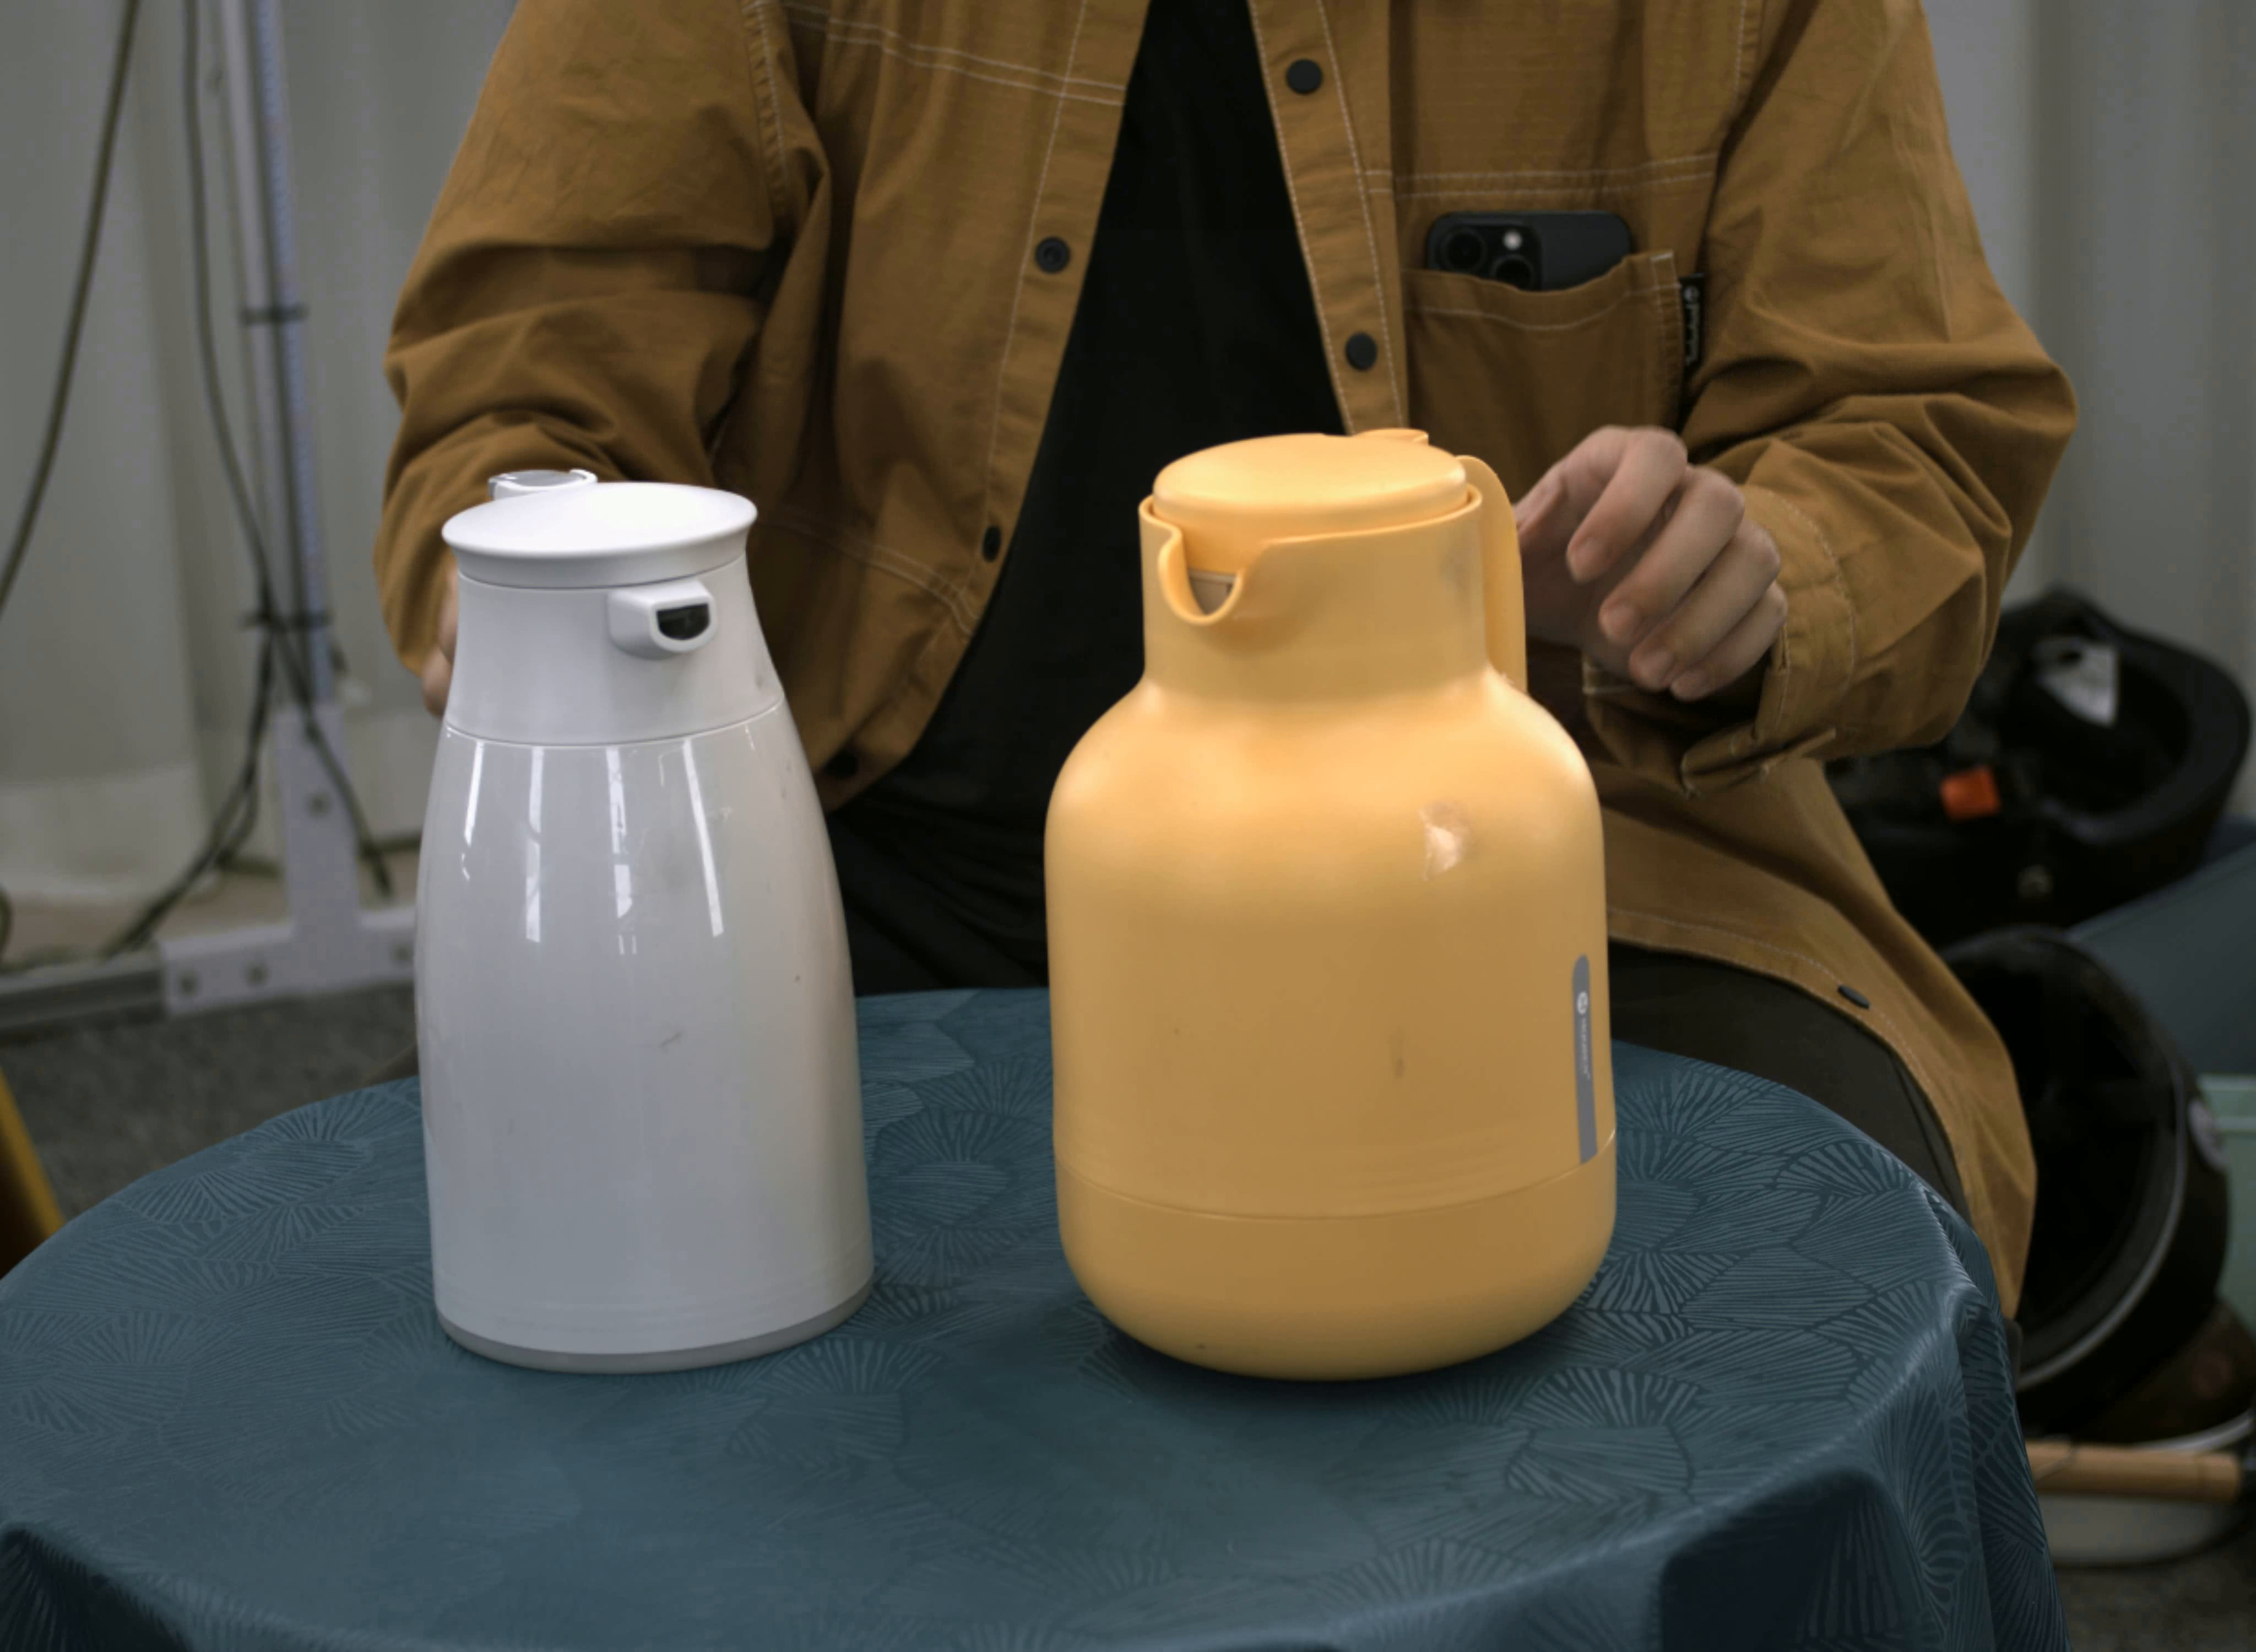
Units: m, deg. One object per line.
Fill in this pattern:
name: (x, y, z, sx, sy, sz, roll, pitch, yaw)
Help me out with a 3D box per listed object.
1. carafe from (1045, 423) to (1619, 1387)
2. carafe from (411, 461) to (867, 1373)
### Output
carafe: (0.067, 0.014, 1.579, 0.164, 0.259, 0.203, 7, 18, 29)
carafe: (-0.157, 0.018, 1.627, 0.132, 0.248, 0.169, -9, 15, -26)
